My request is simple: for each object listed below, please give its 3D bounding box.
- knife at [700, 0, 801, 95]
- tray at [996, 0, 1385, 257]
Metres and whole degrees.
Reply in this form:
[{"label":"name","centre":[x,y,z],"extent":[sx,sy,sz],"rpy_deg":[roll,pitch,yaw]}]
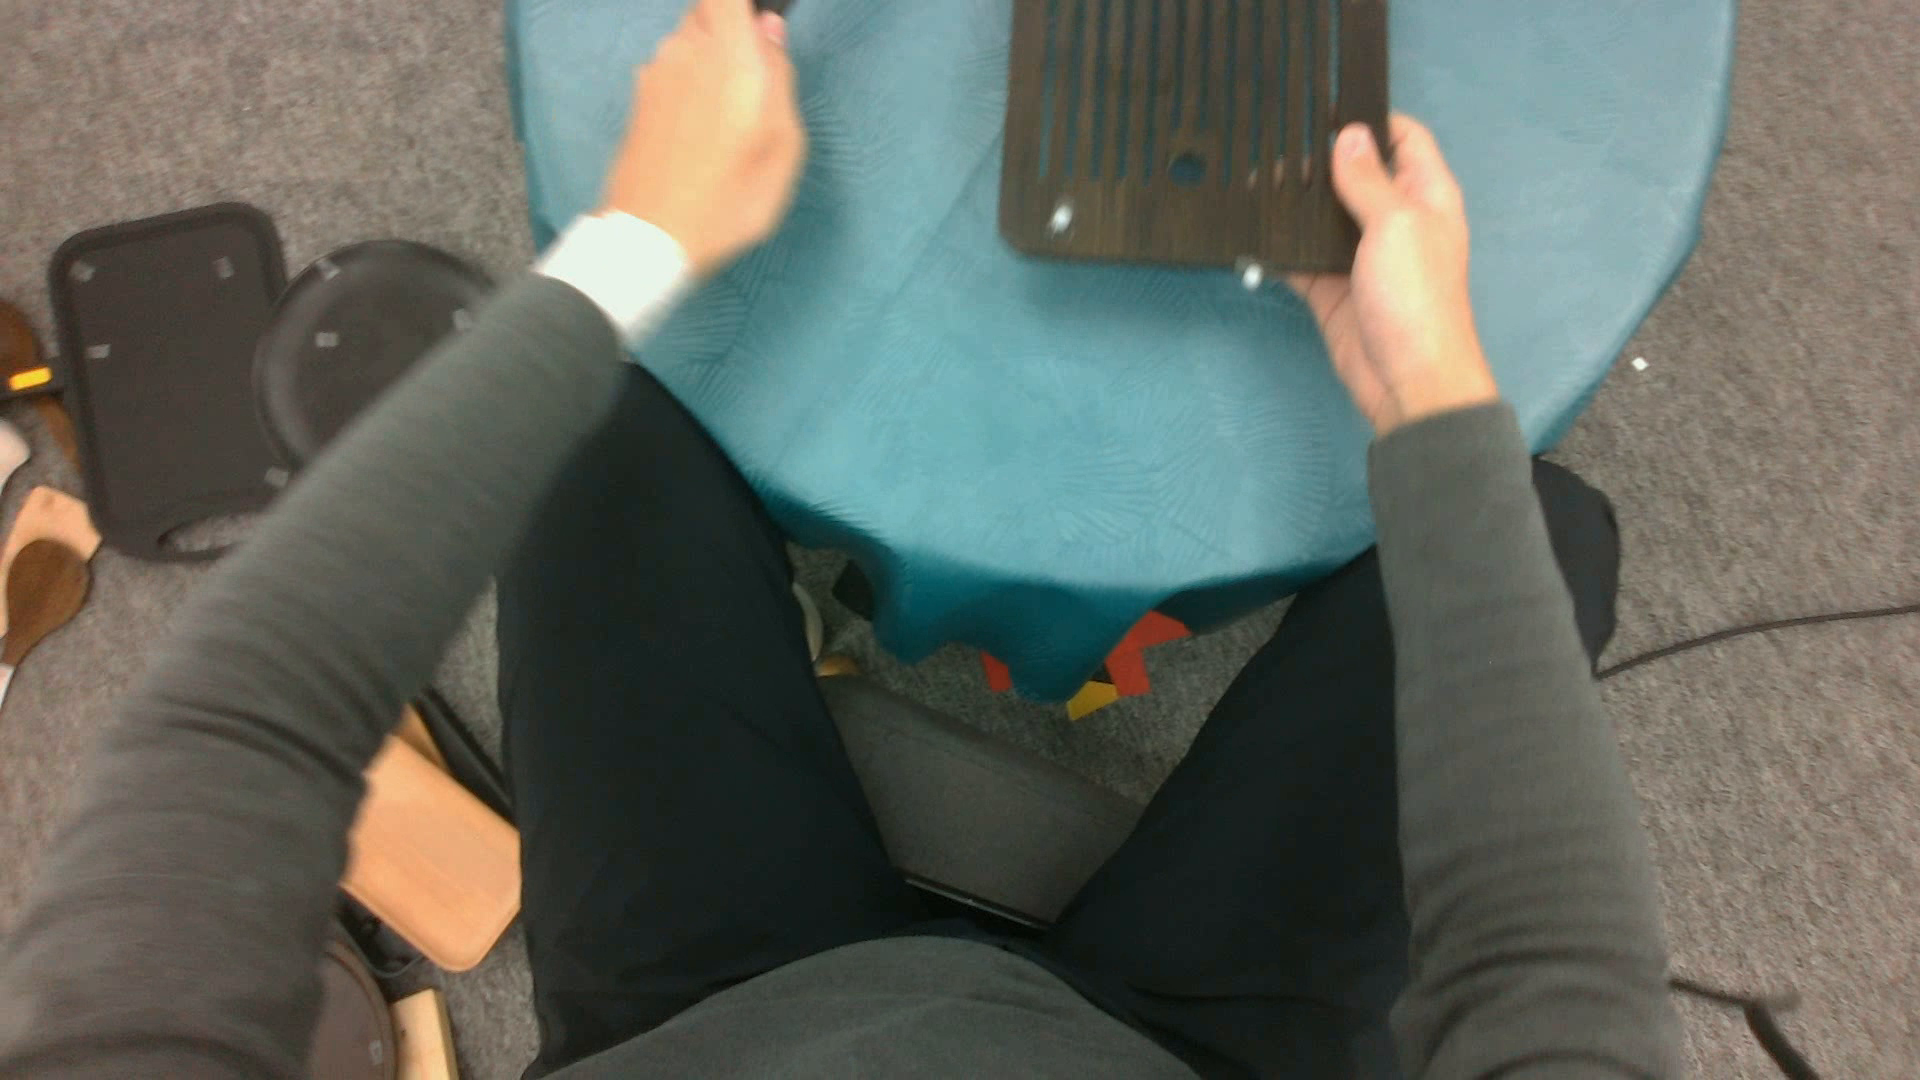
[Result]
[{"label":"knife","centre":[-0.051,-0.307,0.642],"extent":[0.024,0.016,0.238],"rpy_deg":[28,84,29]},{"label":"tray","centre":[0.113,-0.277,0.647],"extent":[0.170,0.018,0.306],"rpy_deg":[4,76,4]}]
